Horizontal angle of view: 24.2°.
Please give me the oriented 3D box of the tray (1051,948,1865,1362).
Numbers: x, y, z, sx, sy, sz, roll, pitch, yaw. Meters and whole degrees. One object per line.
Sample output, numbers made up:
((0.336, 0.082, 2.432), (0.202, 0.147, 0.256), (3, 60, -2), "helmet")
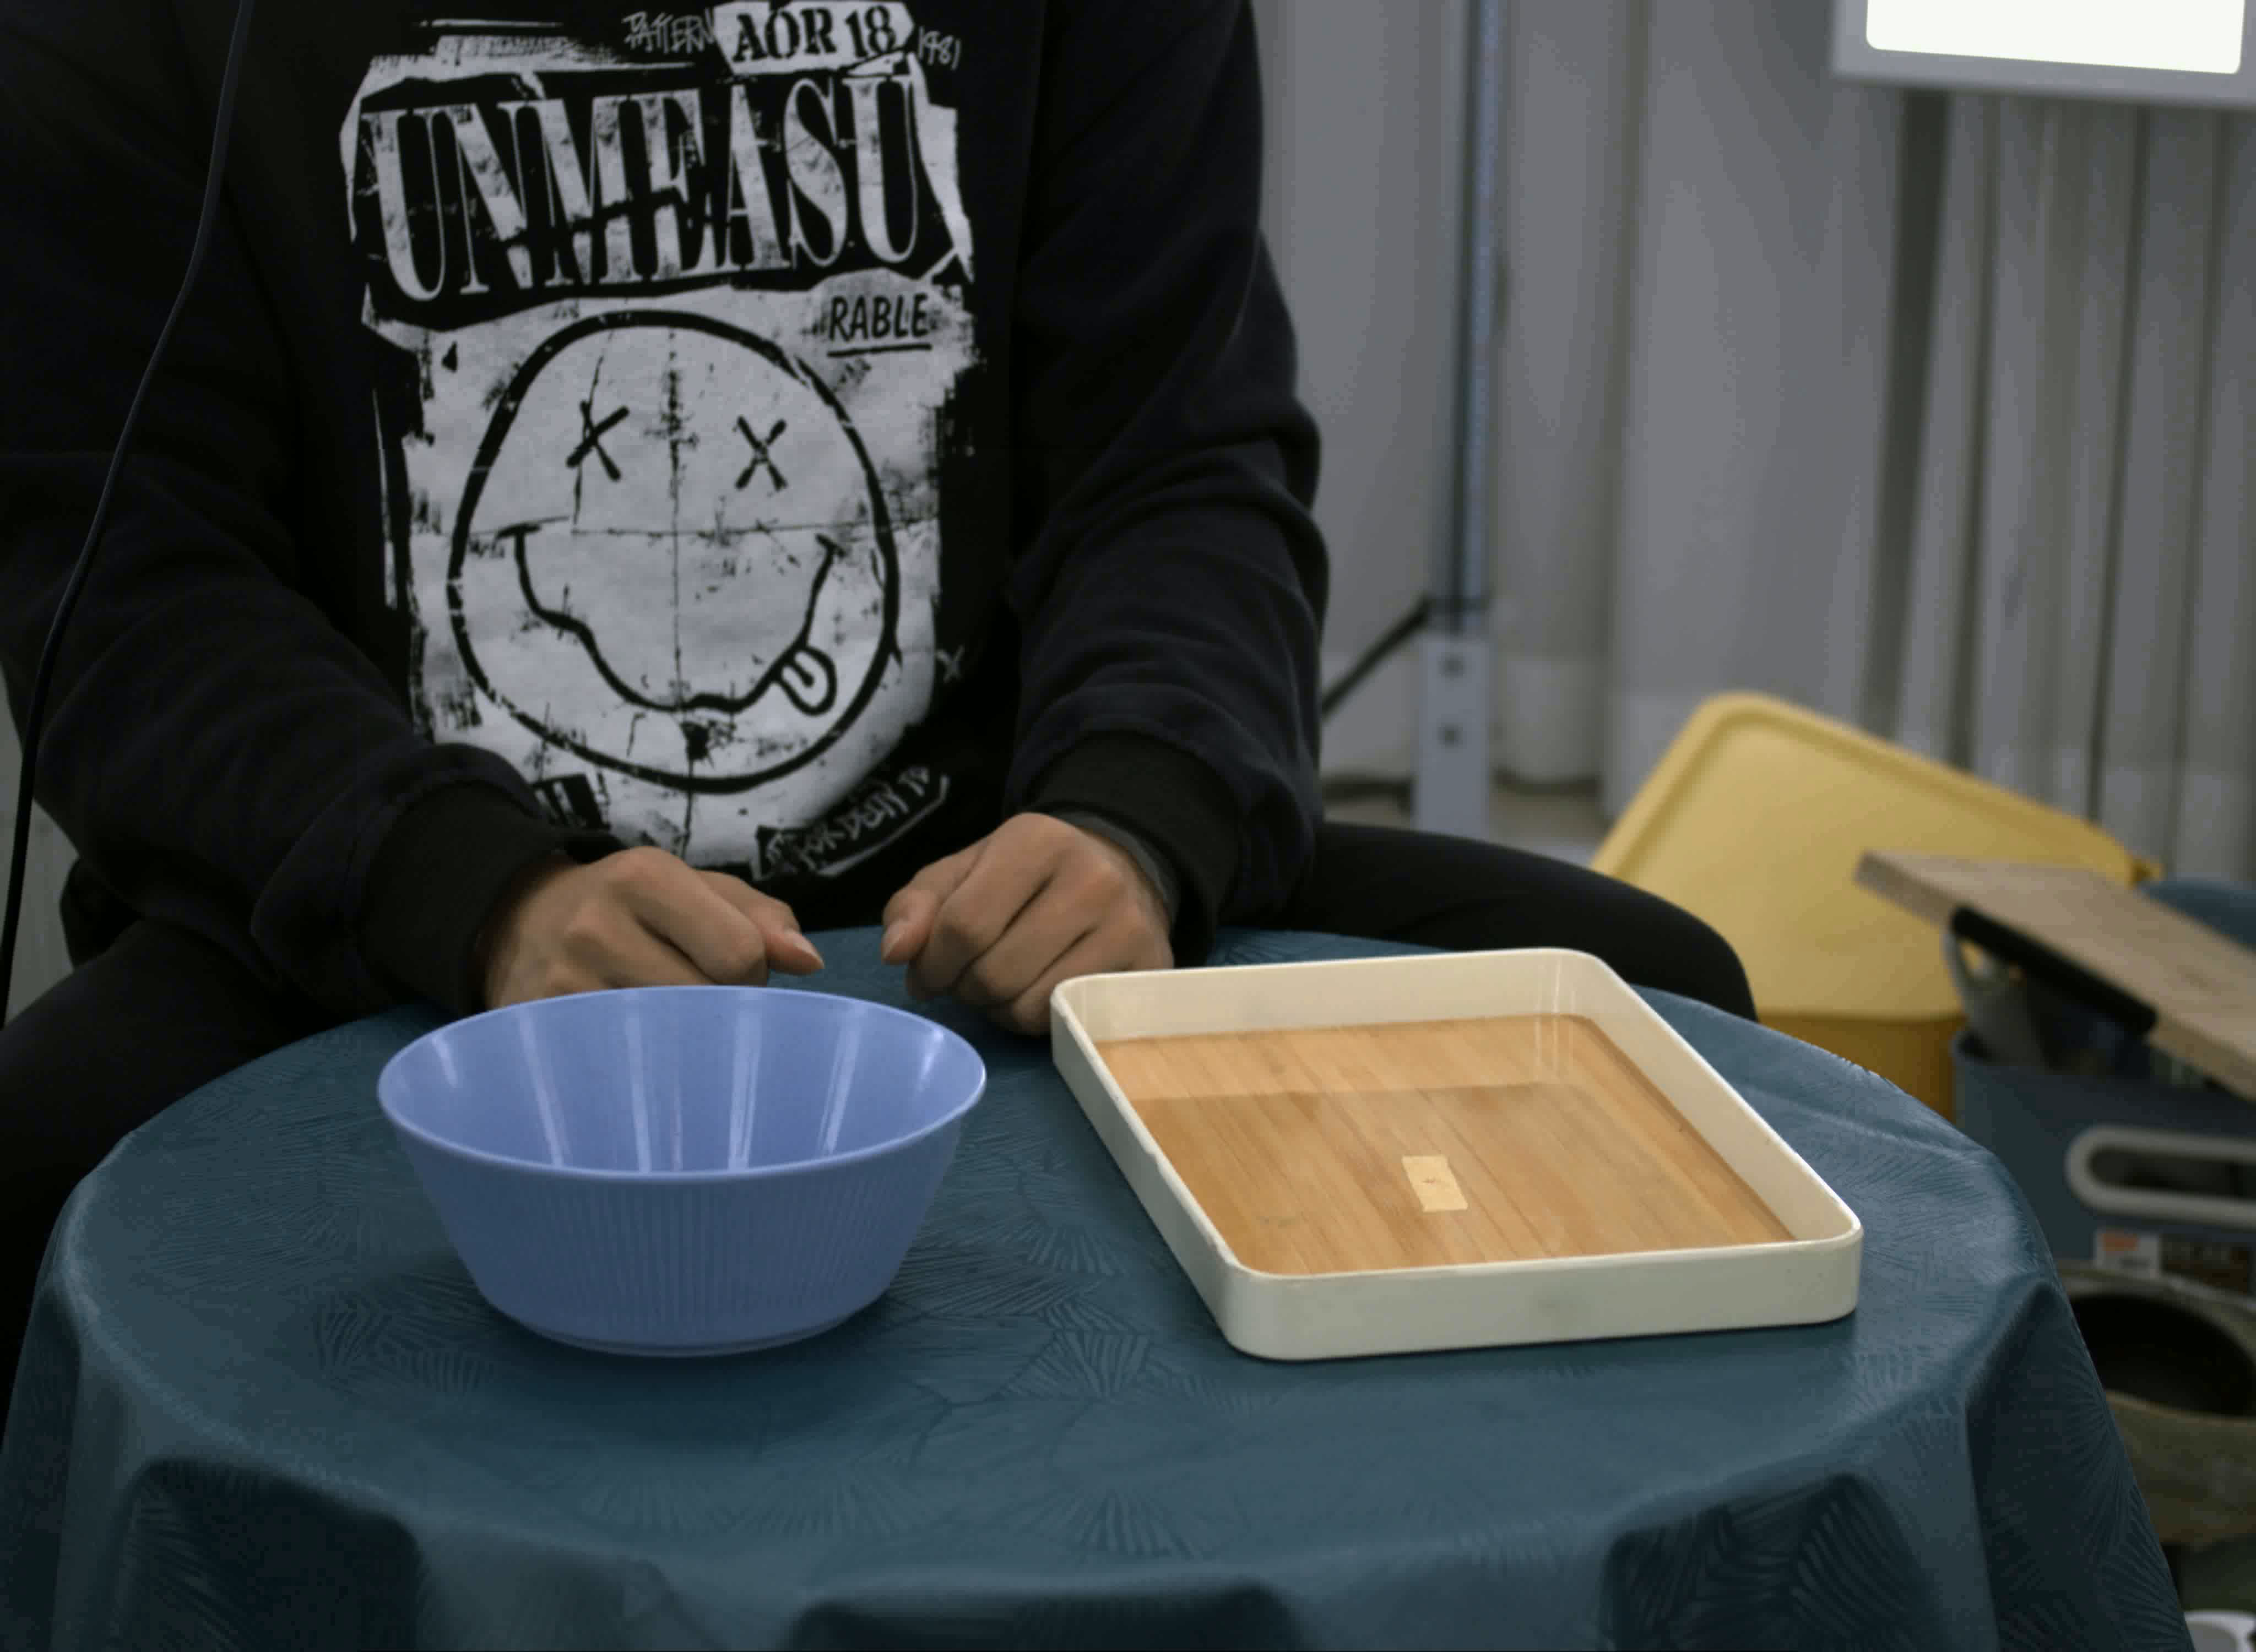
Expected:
((0.094, 0.097, 1.637), (0.192, 0.027, 0.297), (-2, 16, -12), "tray")

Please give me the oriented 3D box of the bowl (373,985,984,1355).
((-0.130, 0.102, 1.526), (0.175, 0.071, 0.175), (2, 16, 0), "bowl")
